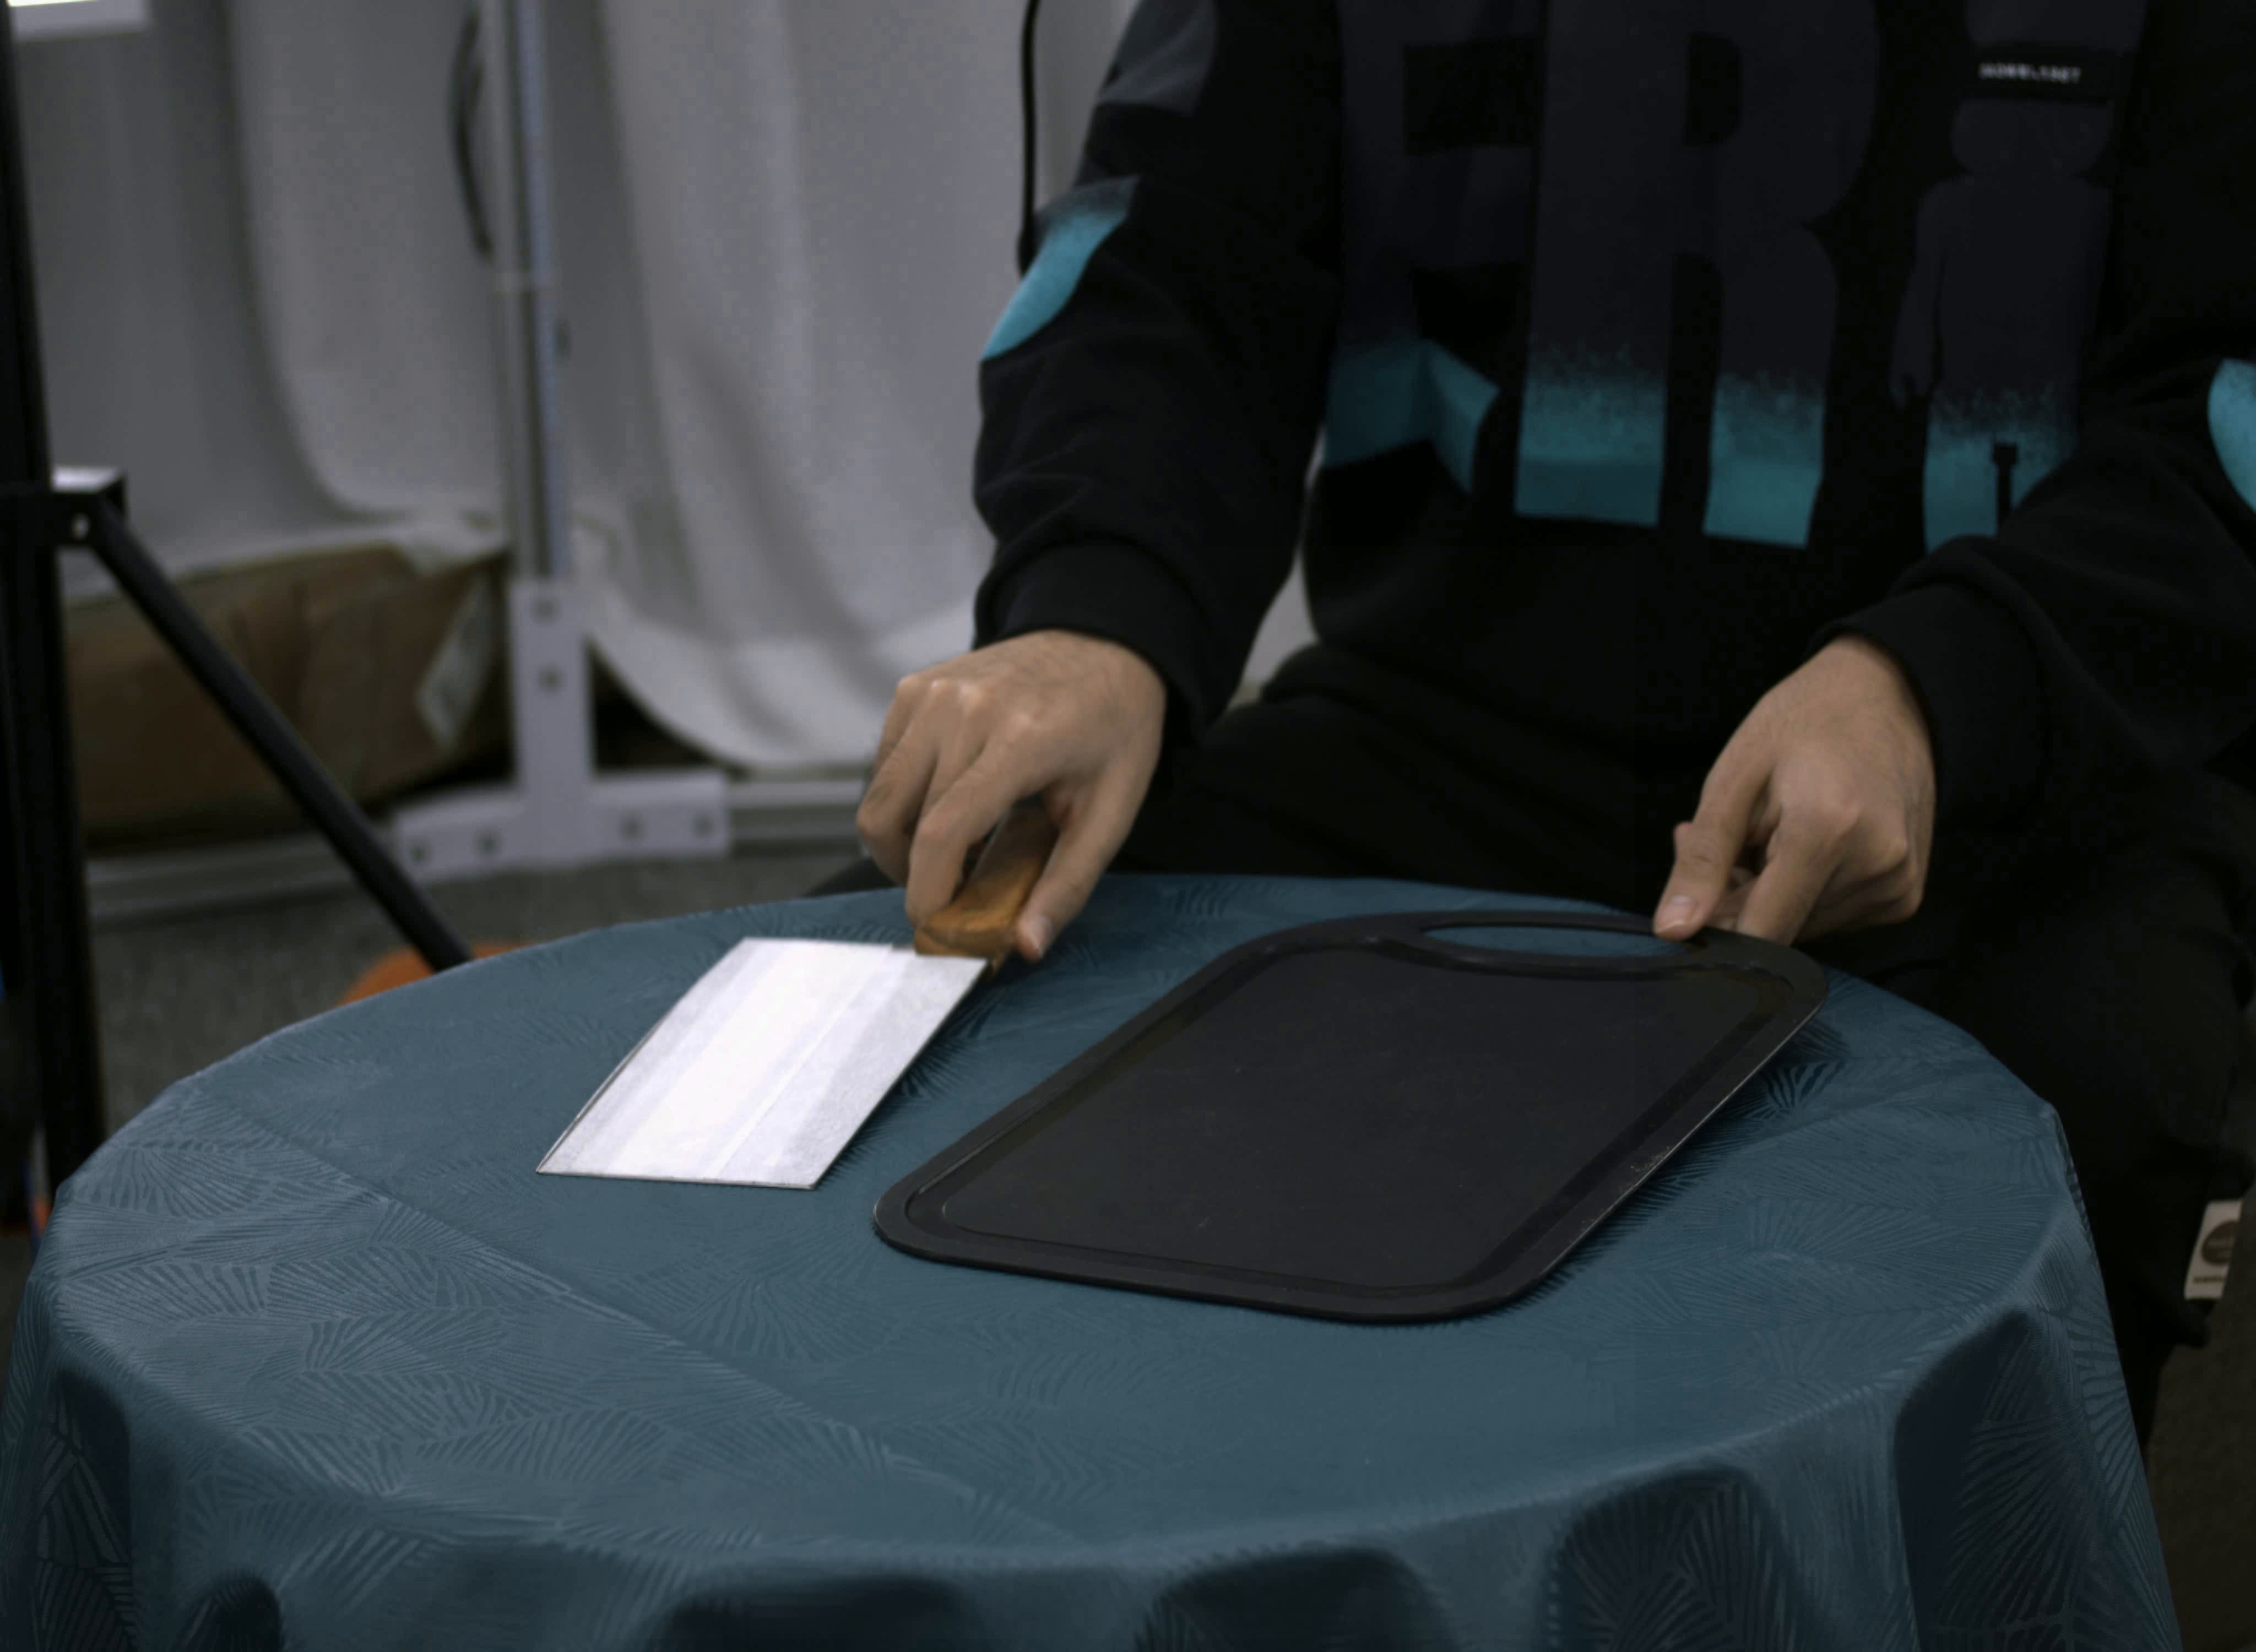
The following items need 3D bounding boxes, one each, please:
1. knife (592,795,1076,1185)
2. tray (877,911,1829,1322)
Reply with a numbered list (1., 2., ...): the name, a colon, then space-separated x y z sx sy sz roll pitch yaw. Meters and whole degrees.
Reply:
1. knife: -0.094 0.051 1.721 0.094 0.021 0.303 1 22 17
2. tray: 0.077 0.079 1.610 0.215 0.010 0.320 5 20 29
